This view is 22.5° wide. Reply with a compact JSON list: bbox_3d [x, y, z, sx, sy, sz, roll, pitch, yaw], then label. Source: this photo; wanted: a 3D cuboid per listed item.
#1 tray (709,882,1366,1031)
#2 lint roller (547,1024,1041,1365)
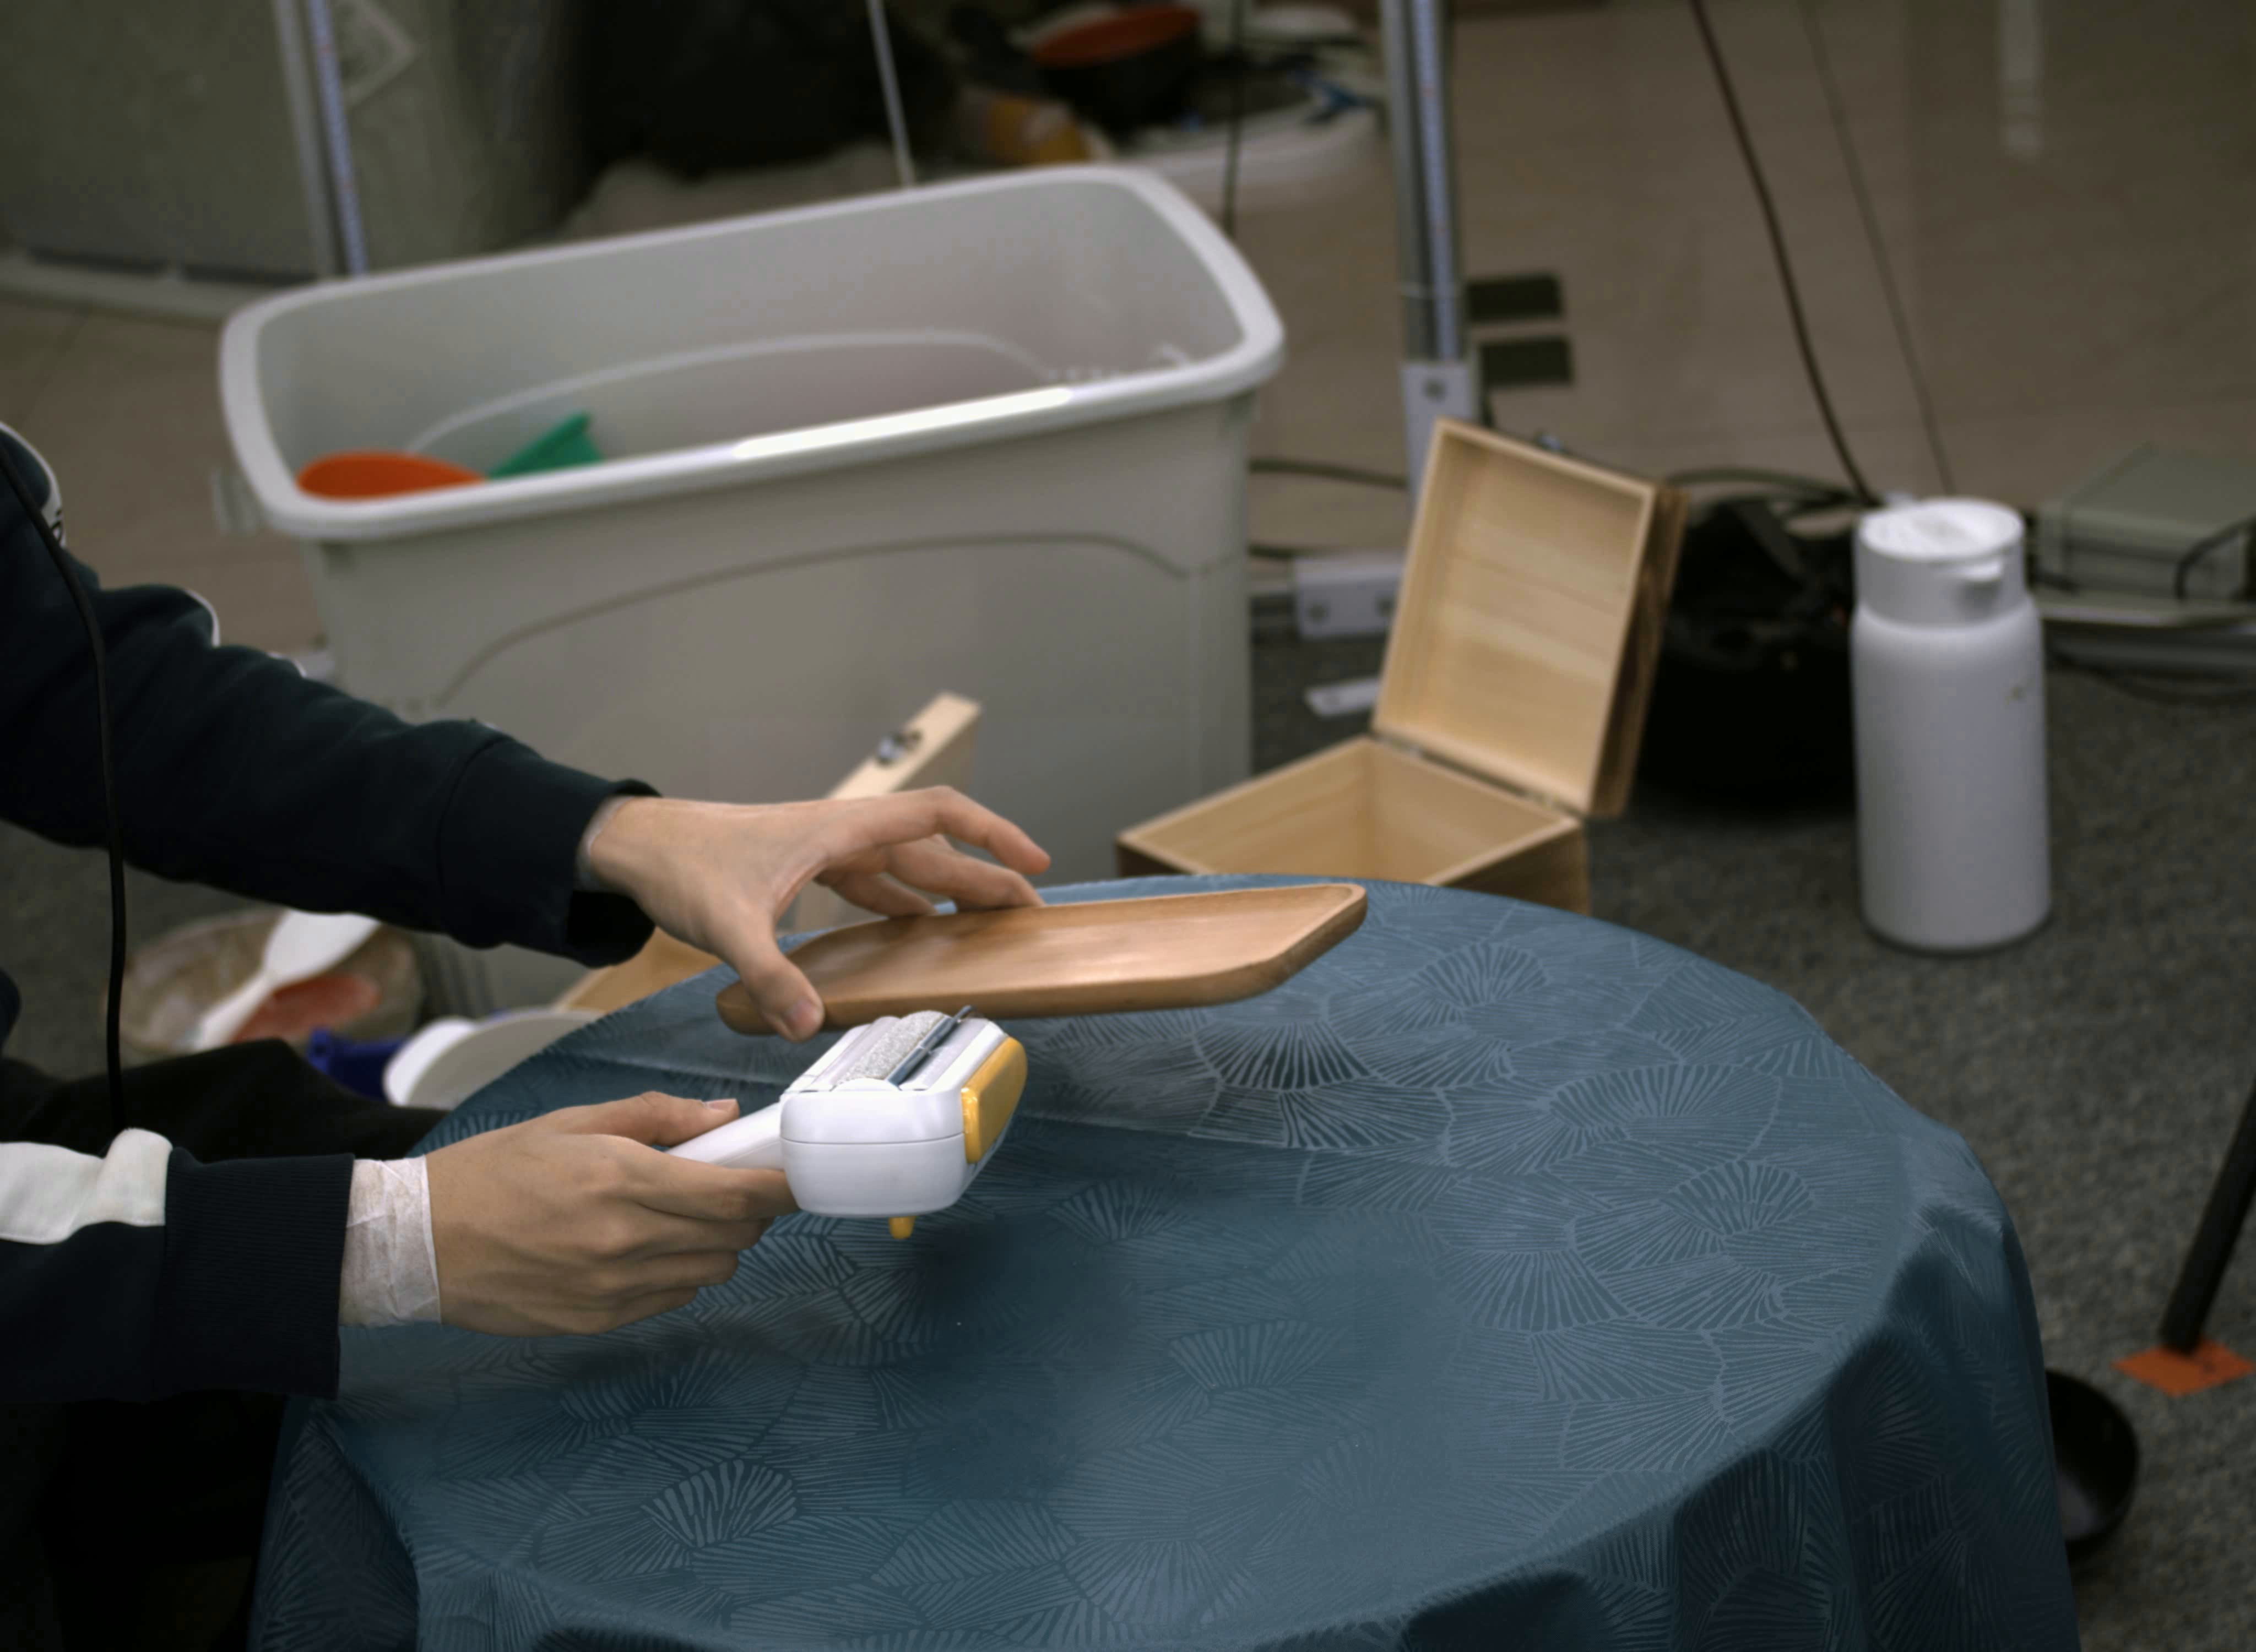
[{"bbox_3d":[-0.036,0.051,2.210,0.250,0.023,0.129,-5,10,29],"label":"tray"},{"bbox_3d":[-0.132,0.137,2.053,0.193,0.074,0.191,-22,5,14],"label":"lint roller"}]
